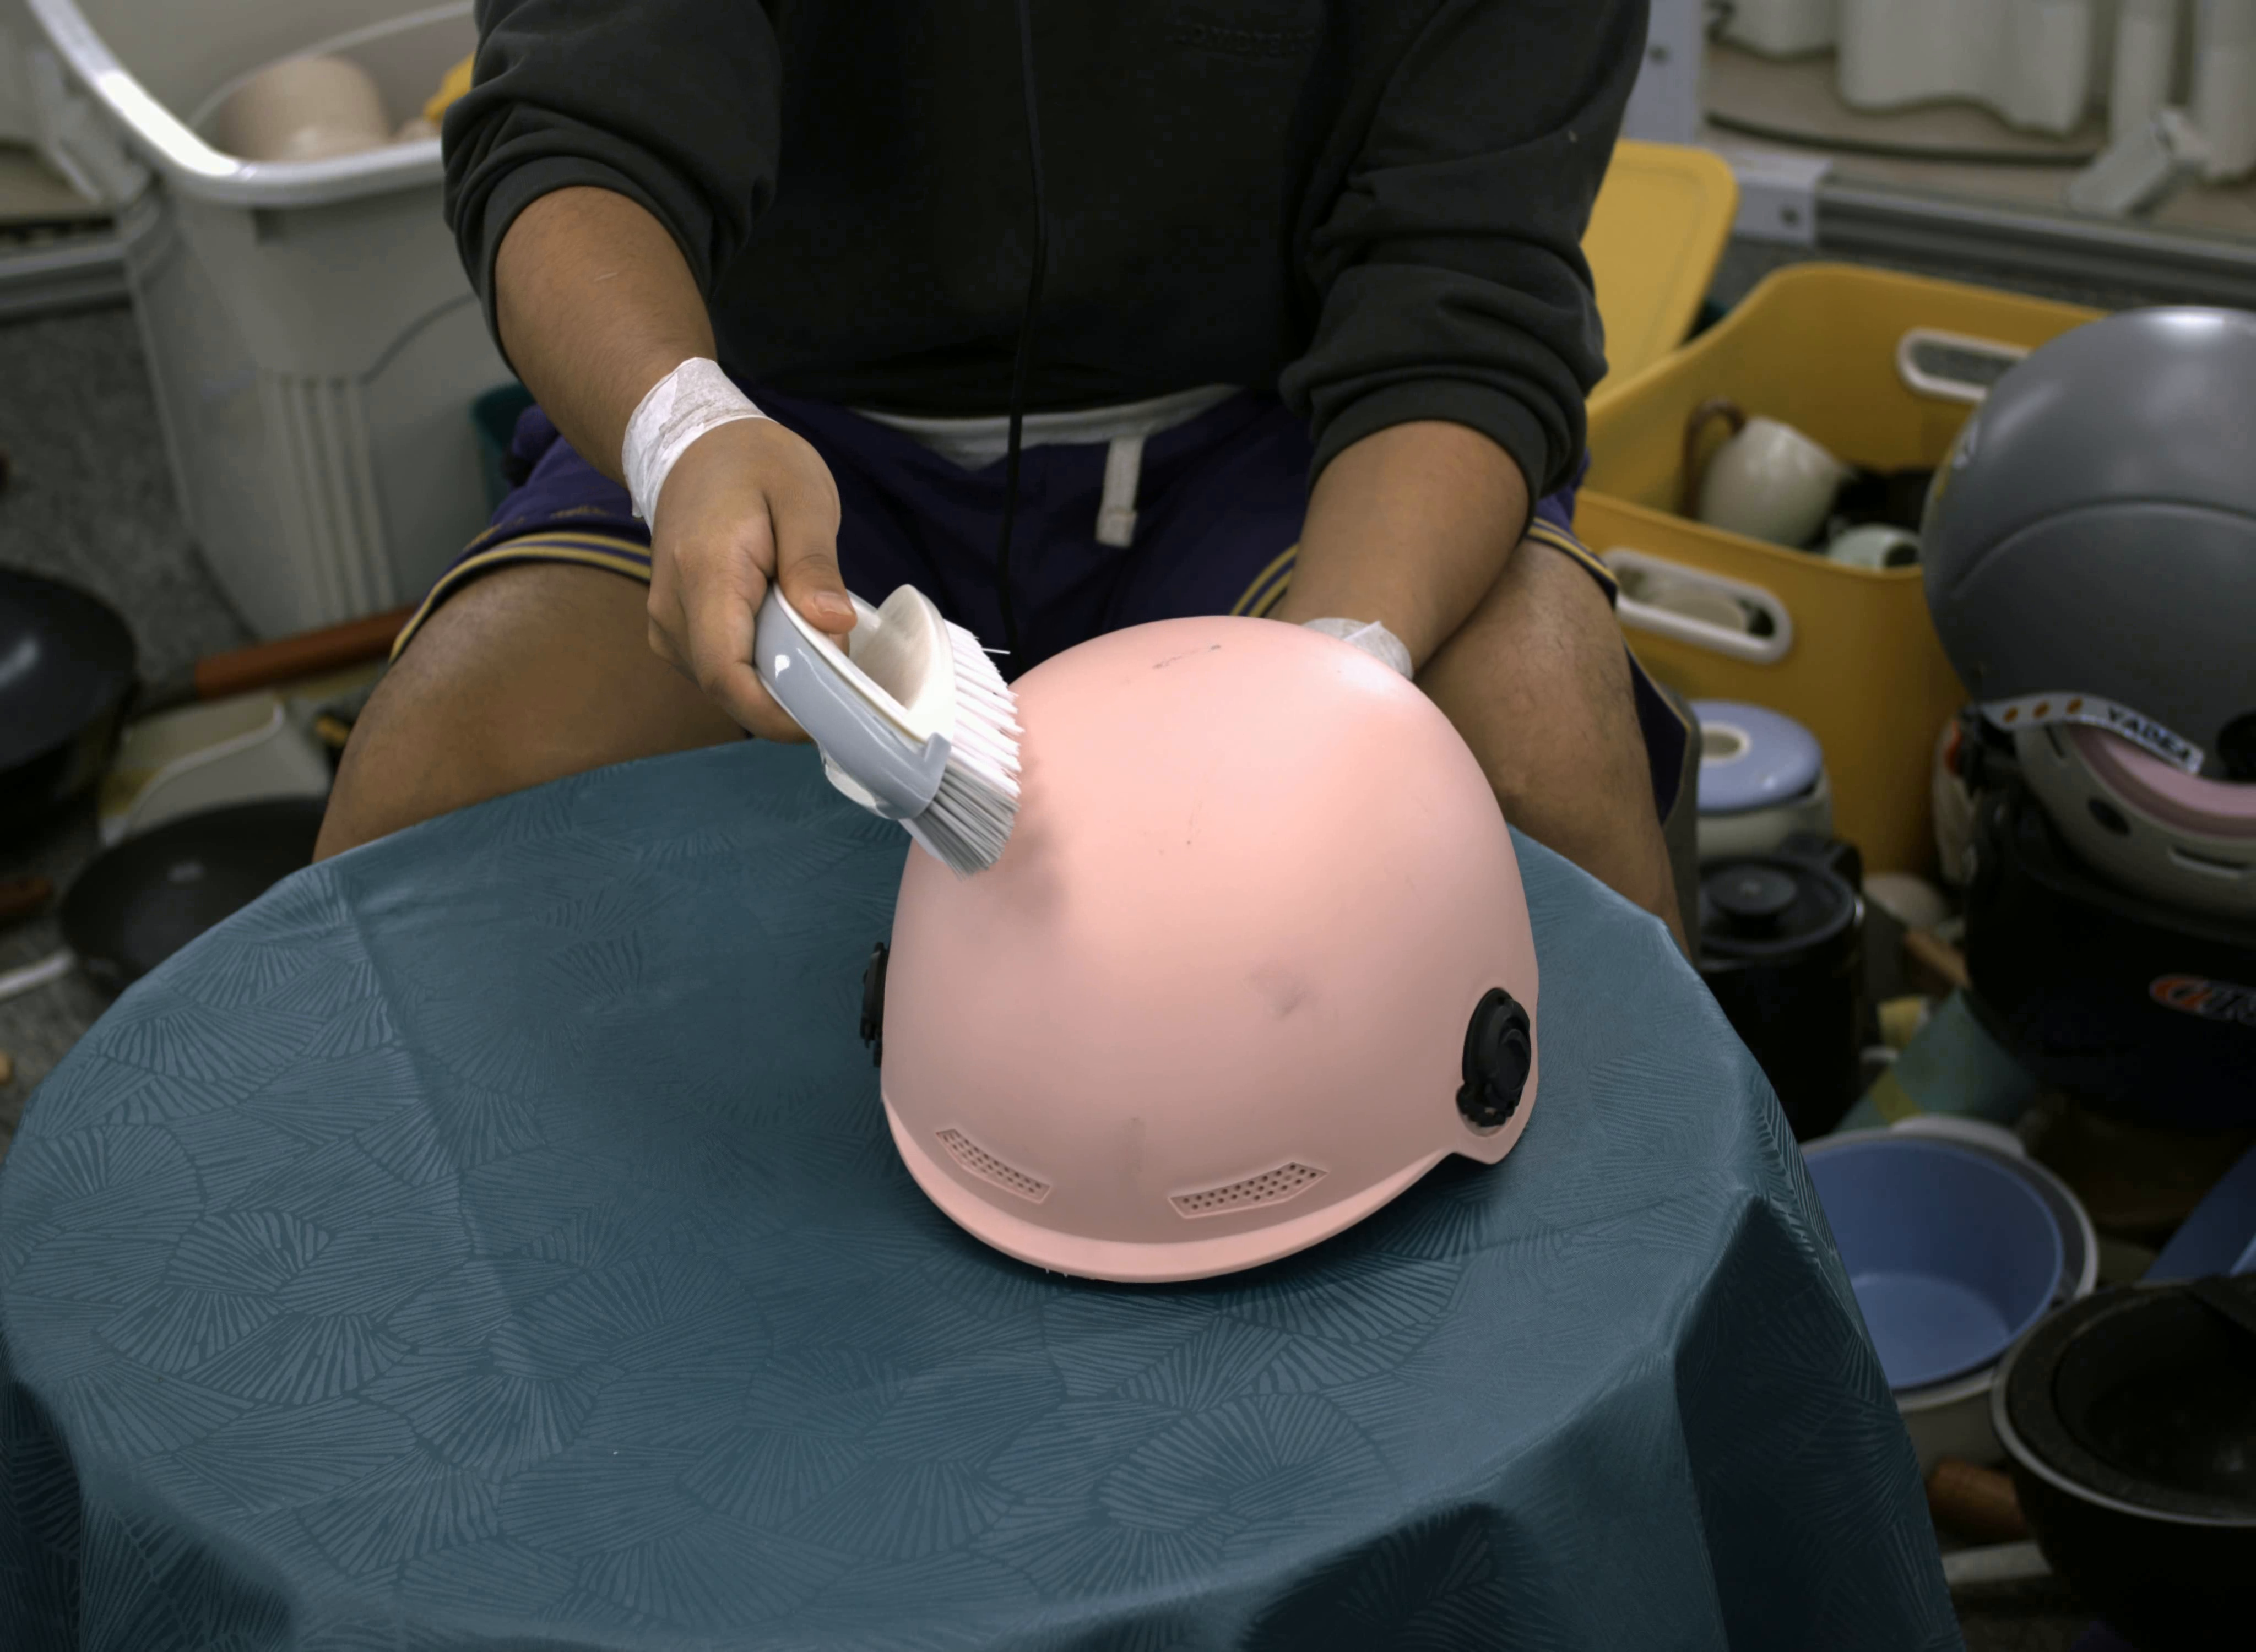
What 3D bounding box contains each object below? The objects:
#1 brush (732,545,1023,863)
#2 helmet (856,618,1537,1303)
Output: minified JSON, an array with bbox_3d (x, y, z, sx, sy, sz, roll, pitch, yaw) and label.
[{"bbox_3d":[-0.084,-0.045,1.844,0.094,0.061,0.177,34,13,-21],"label":"brush"},{"bbox_3d":[0.023,0.025,1.884,0.232,0.157,0.271,5,33,14],"label":"helmet"}]
